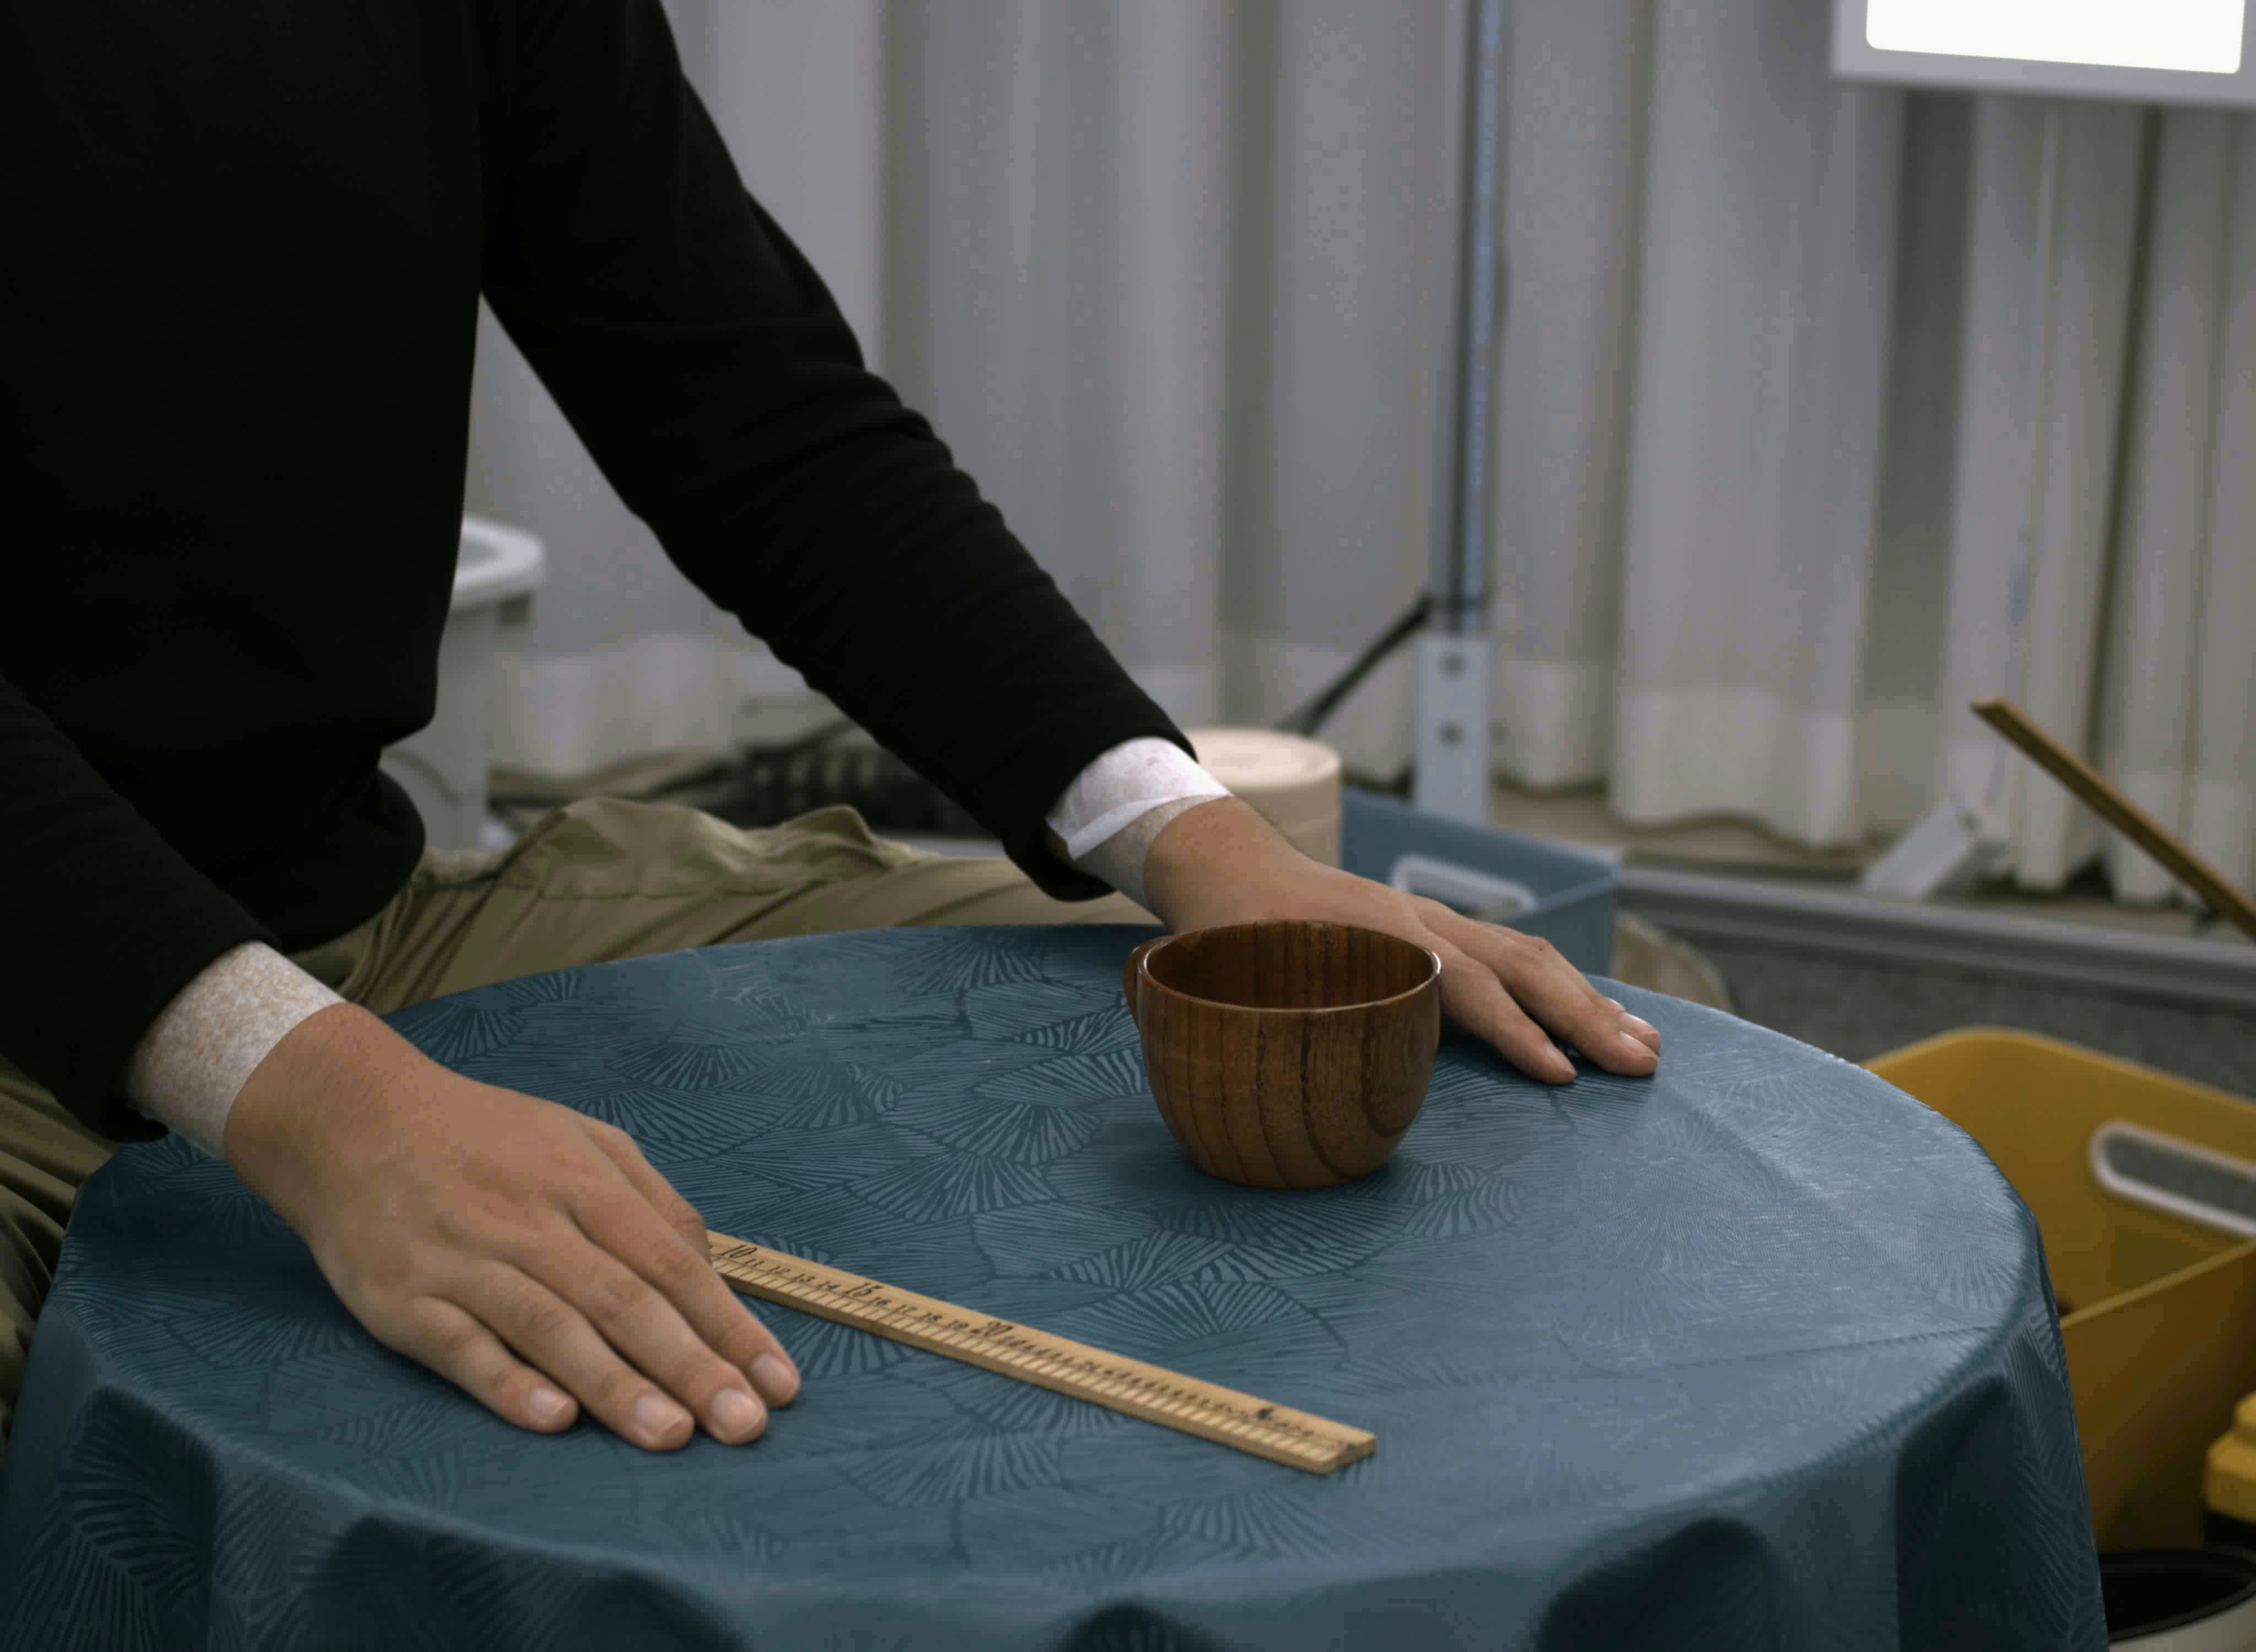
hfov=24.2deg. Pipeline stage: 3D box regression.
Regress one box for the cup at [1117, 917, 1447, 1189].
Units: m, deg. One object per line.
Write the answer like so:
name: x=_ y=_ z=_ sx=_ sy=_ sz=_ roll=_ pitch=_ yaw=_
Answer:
cup: x=0.043 y=0.071 z=1.651 sx=0.118 sy=0.068 sz=0.096 roll=14 pitch=22 yaw=43

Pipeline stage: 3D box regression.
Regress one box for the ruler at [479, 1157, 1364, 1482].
ruler: x=-0.068 y=0.137 z=1.511 sx=0.327 sy=0.022 sz=0.027 roll=14 pitch=16 yaw=39
